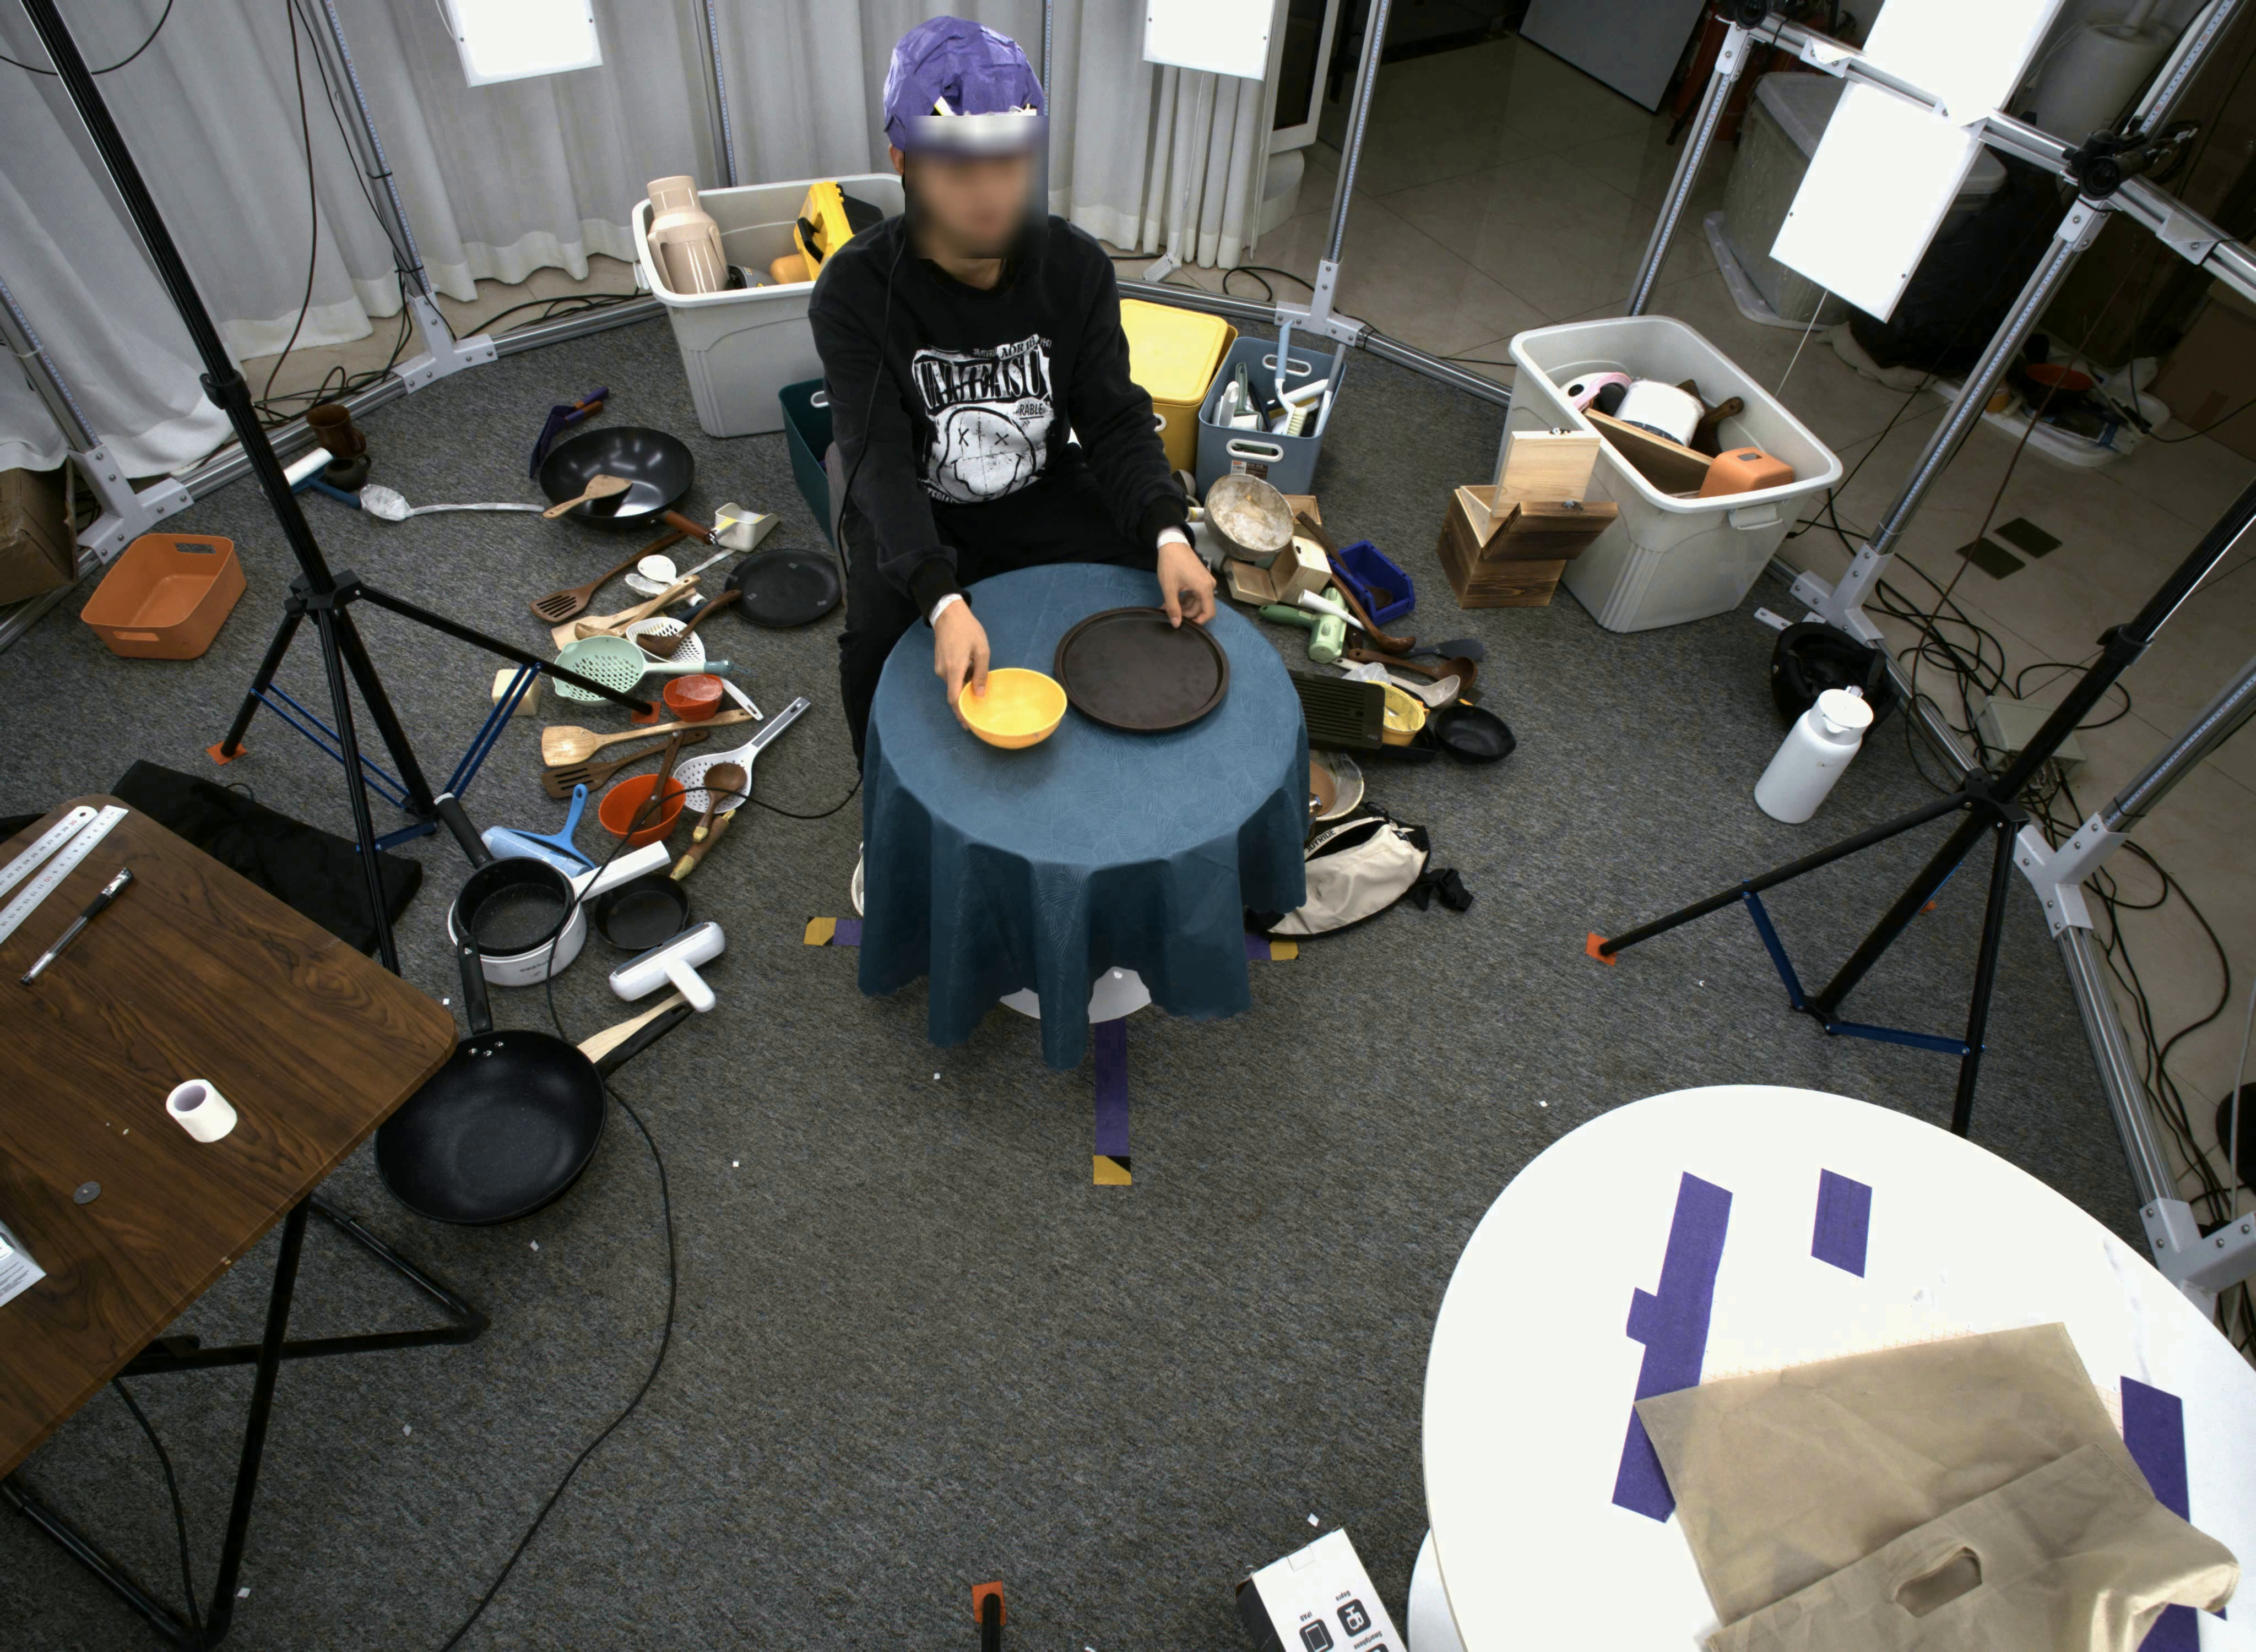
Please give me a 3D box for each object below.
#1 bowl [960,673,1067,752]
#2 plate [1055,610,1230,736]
[{"bbox_3d":[-0.157,-0.144,1.759,0.145,0.058,0.149,2,42,-2],"label":"bowl"},{"bbox_3d":[0.022,-0.224,1.866,0.254,0.028,0.261,1,49,-1],"label":"plate"}]
